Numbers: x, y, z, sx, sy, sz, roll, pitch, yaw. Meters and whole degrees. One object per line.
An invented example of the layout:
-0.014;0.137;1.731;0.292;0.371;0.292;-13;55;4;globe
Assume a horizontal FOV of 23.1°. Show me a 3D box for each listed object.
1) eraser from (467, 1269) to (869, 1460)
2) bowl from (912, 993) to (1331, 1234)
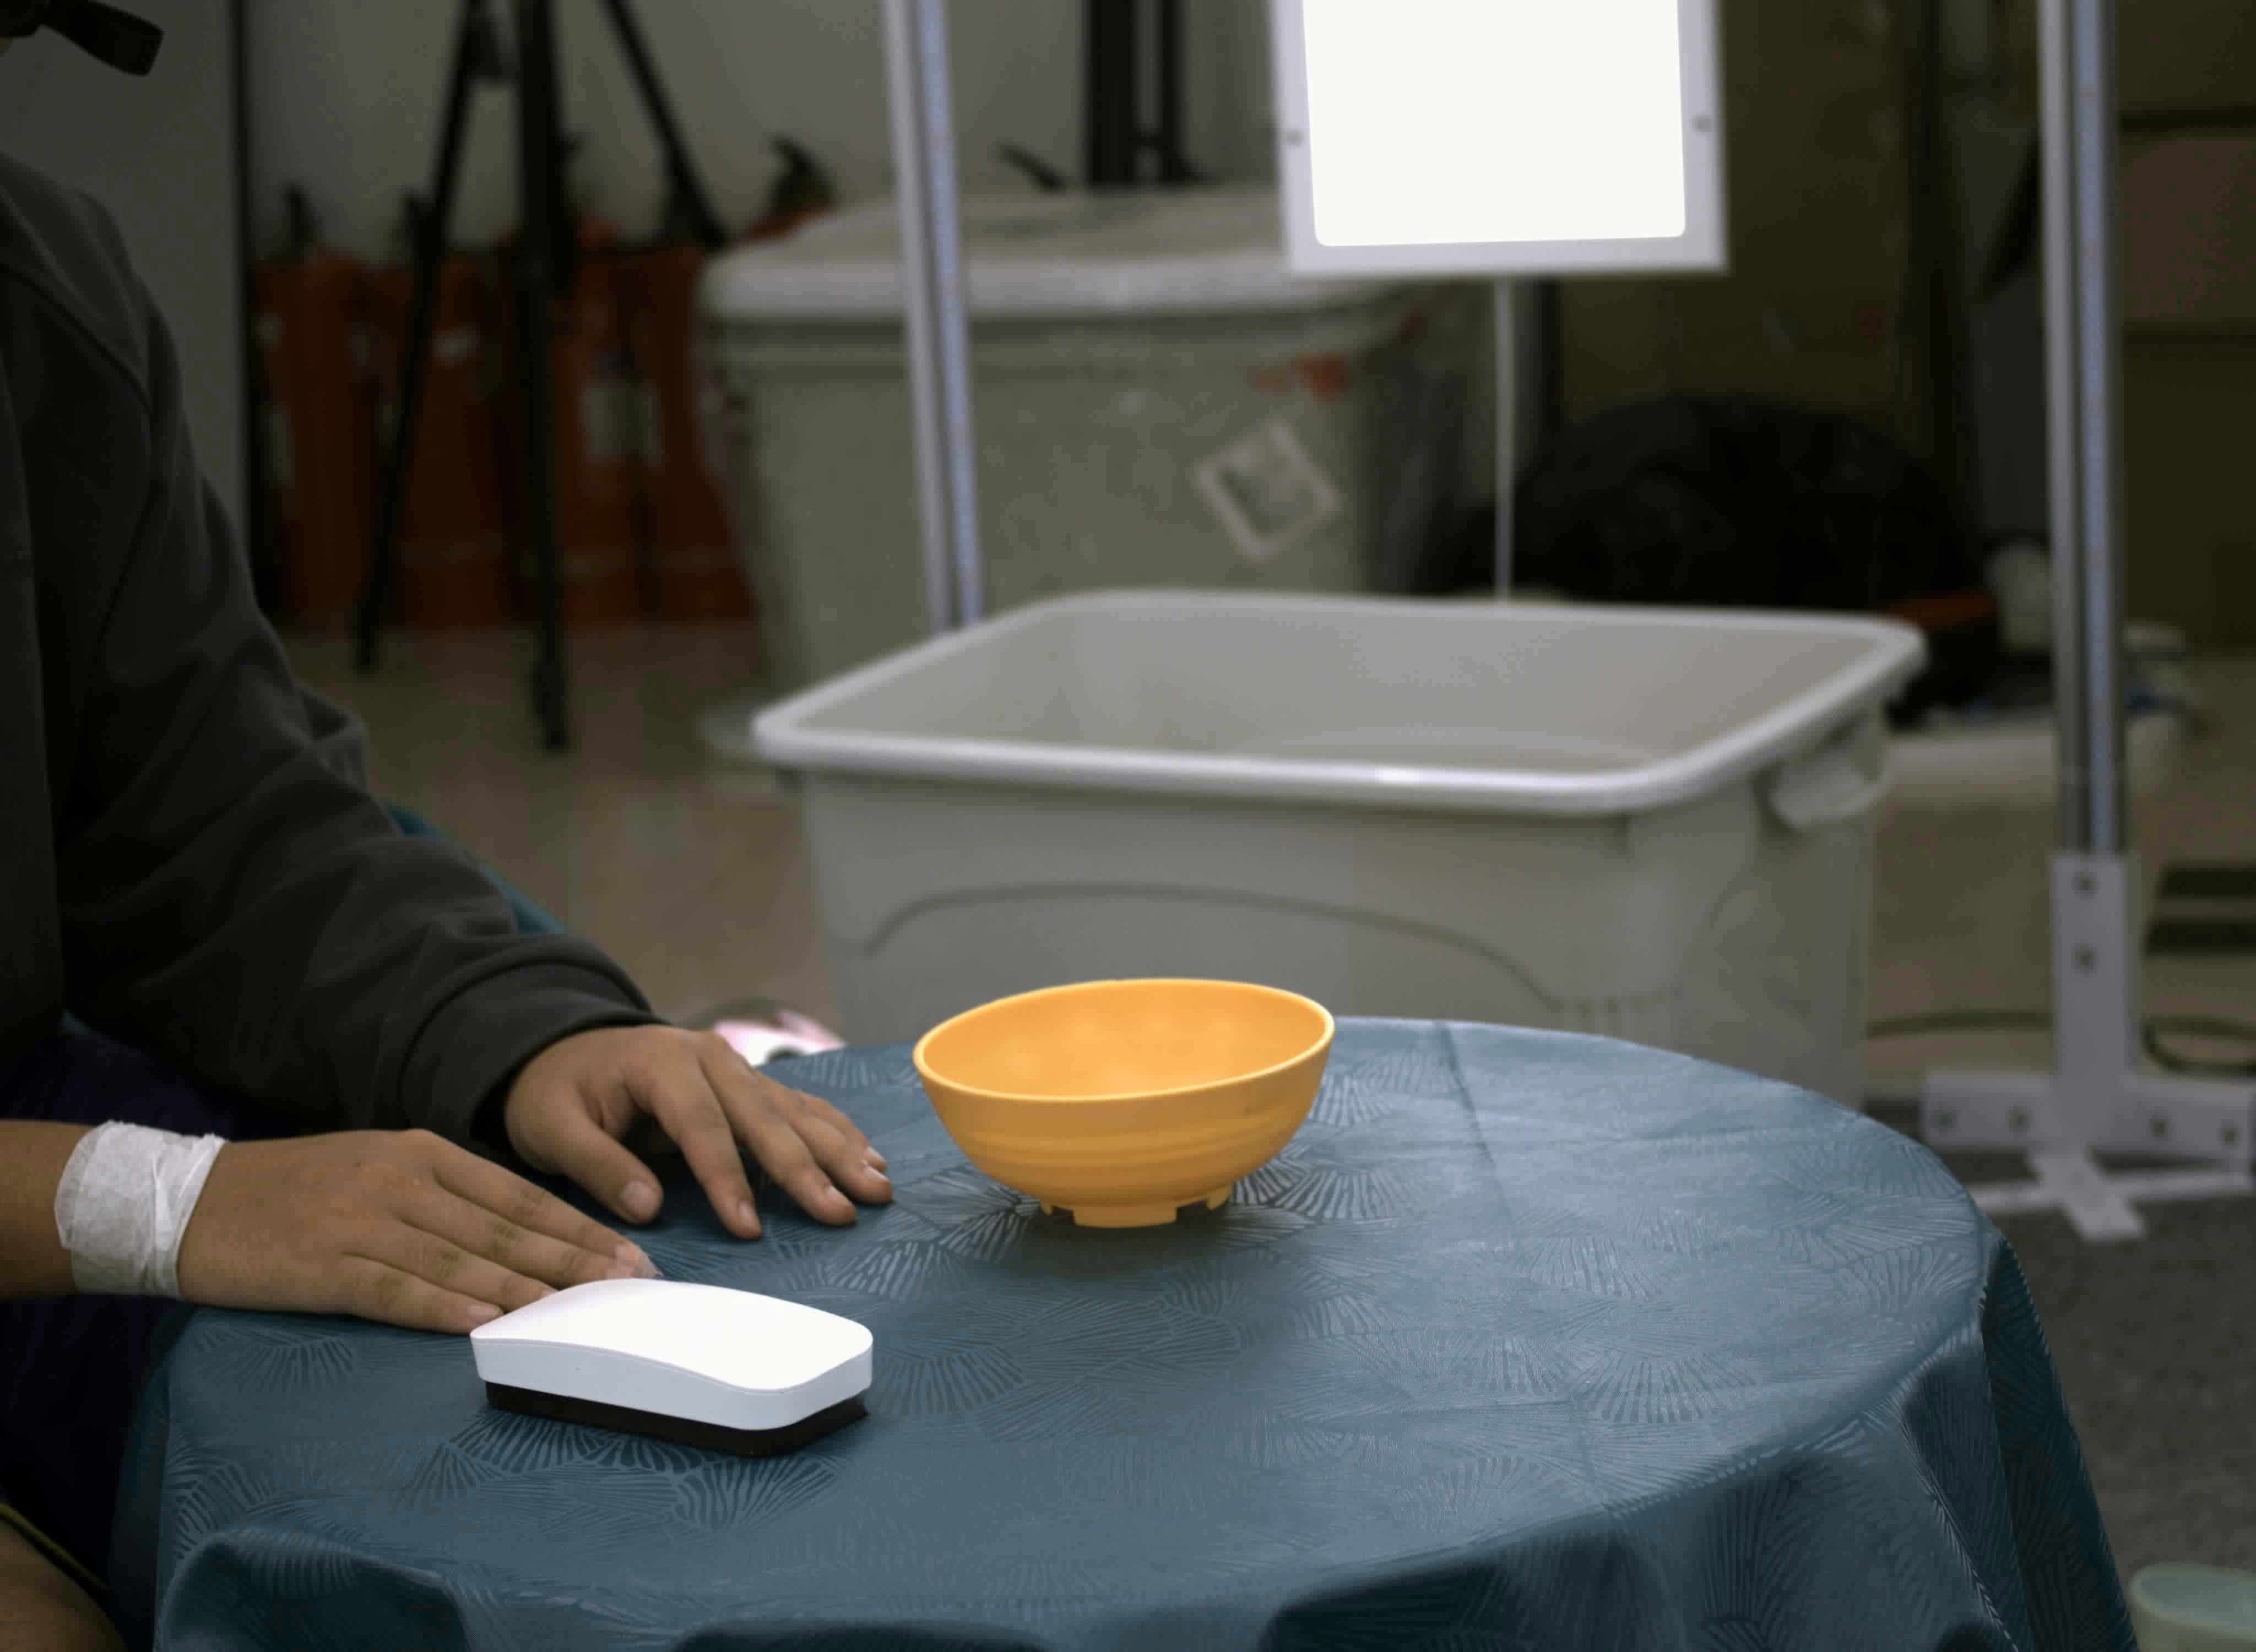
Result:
-0.143;0.166;1.722;0.134;0.034;0.062;7;17;38;eraser
0.000;0.102;1.883;0.145;0.060;0.145;-6;12;0;bowl
